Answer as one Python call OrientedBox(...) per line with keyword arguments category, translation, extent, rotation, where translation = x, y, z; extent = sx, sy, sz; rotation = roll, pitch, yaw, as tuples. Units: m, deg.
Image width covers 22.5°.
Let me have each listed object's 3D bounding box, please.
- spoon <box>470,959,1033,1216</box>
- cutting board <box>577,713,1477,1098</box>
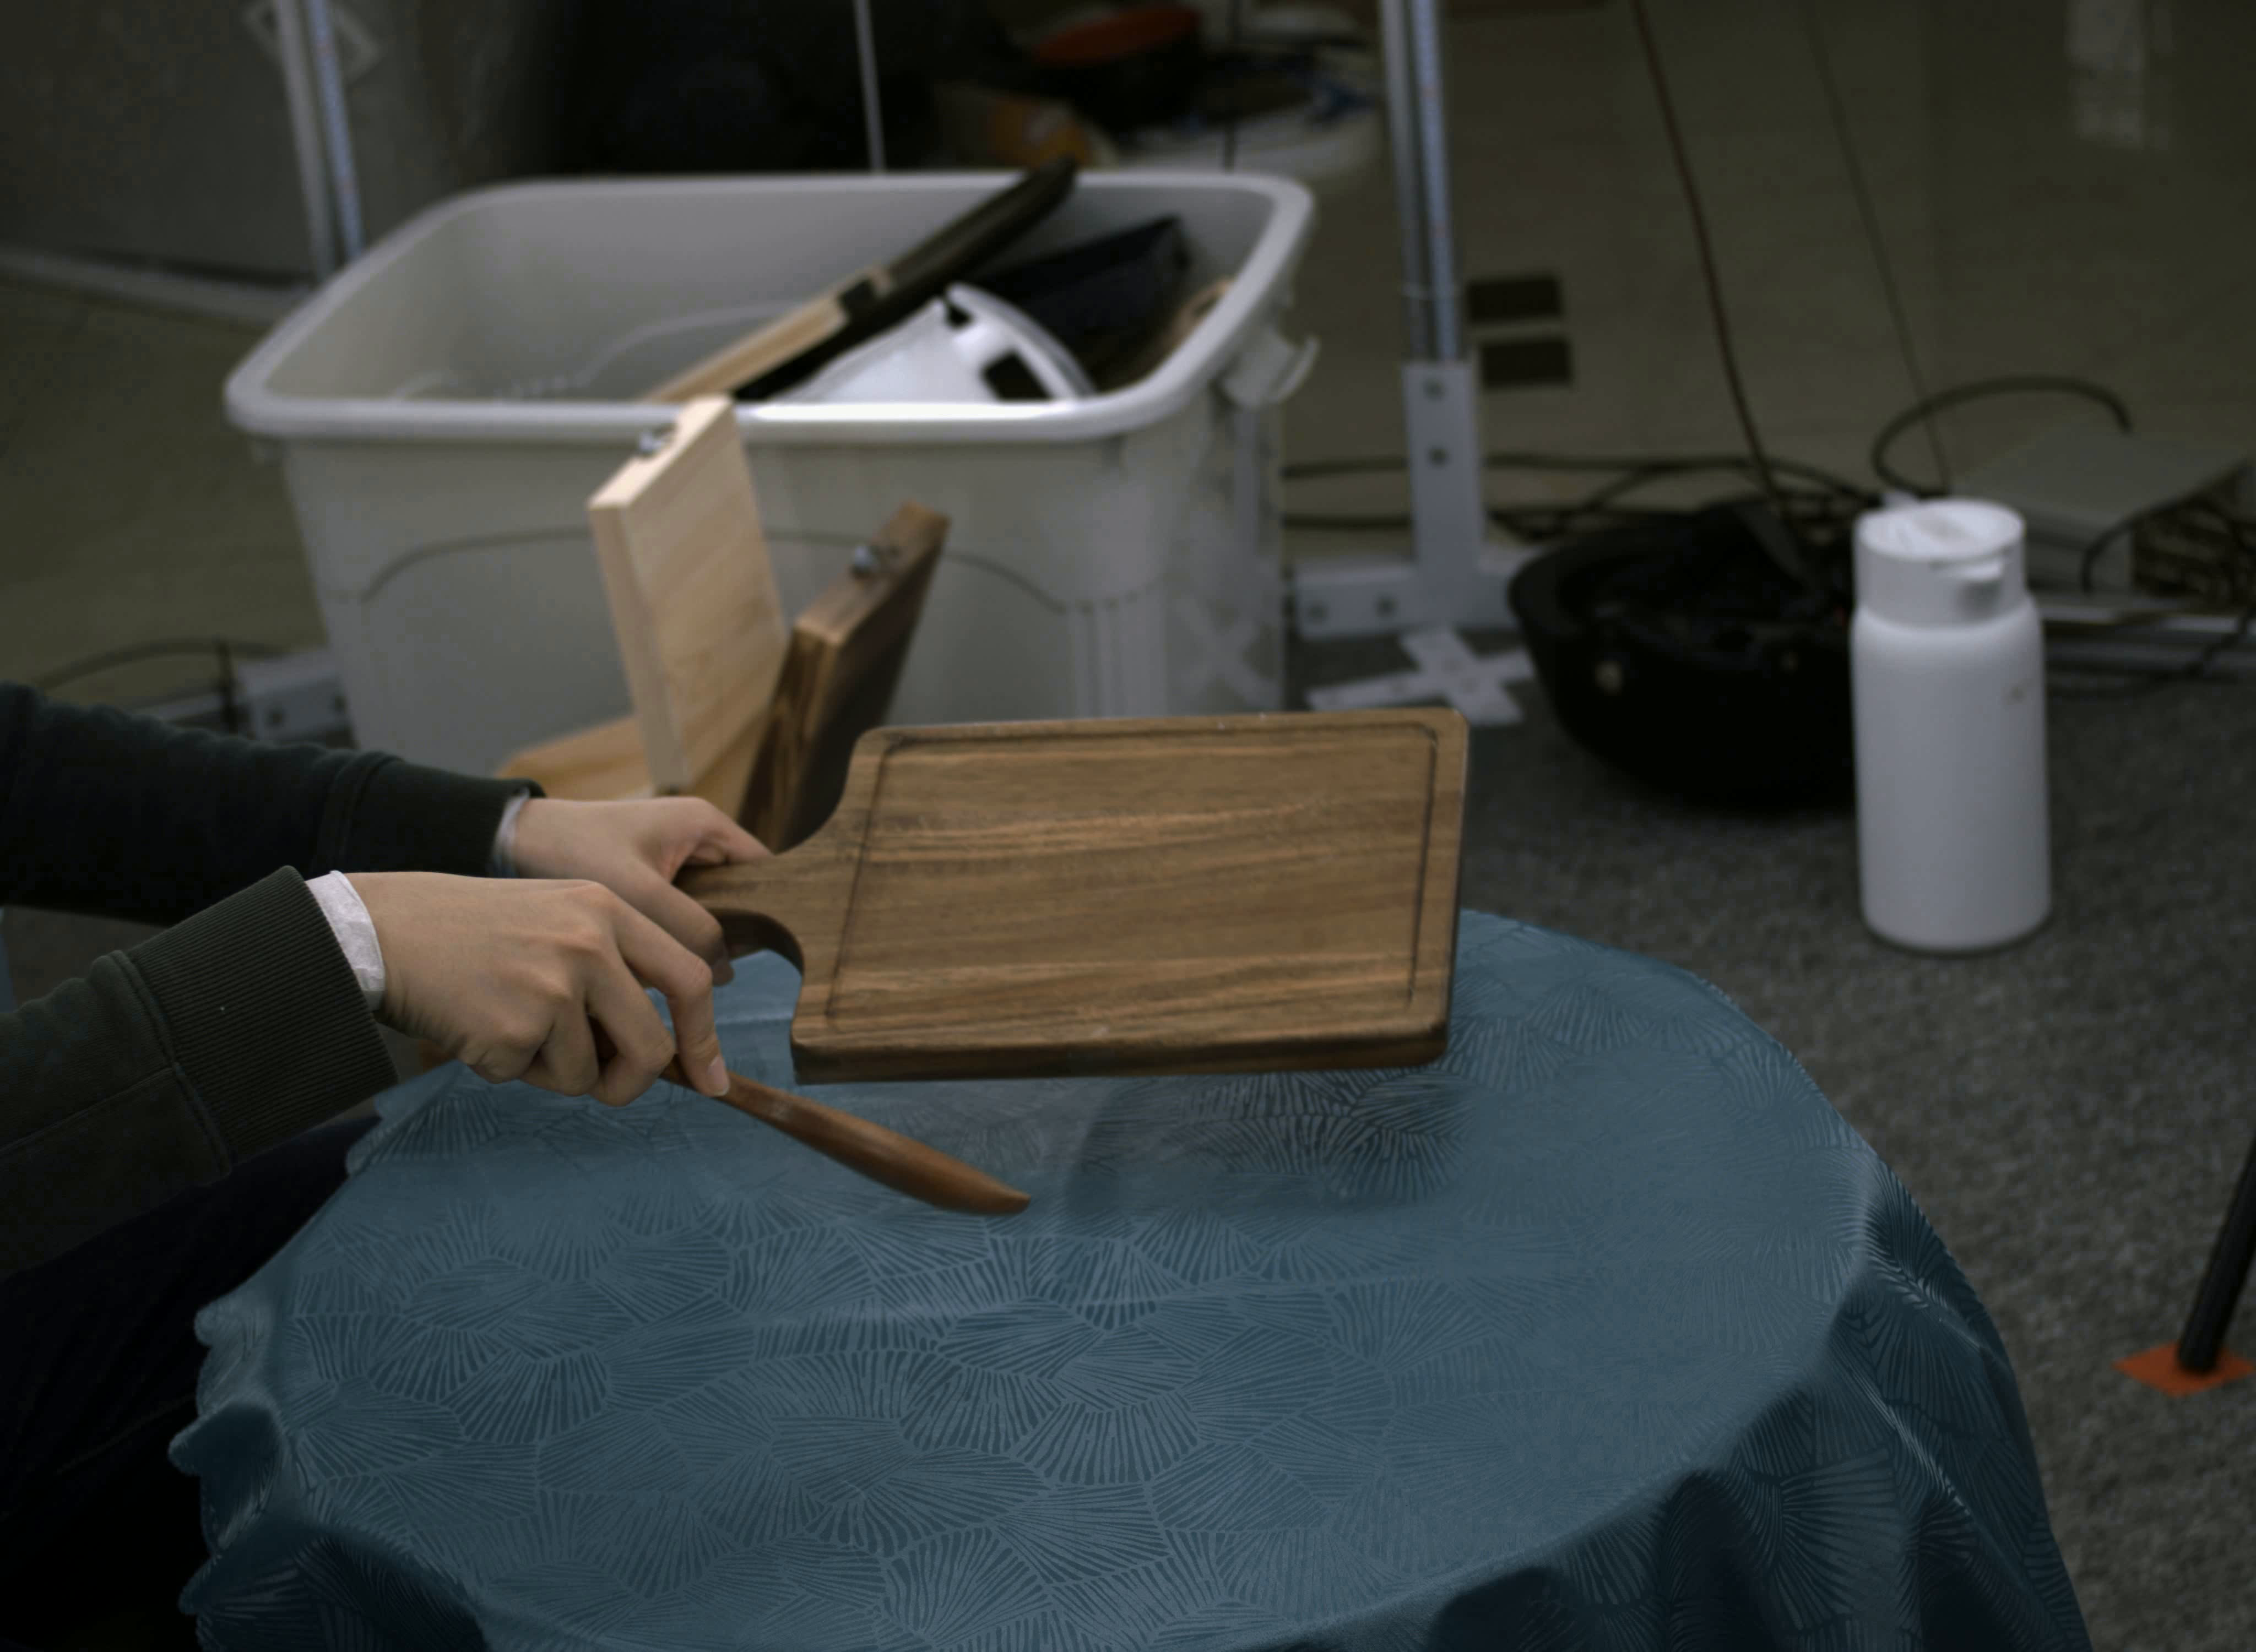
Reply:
OrientedBox(category="spoon", translation=(-0.126, 0.091, 1.920), extent=(0.217, 0.017, 0.075), rotation=(25, 2, -25))
OrientedBox(category="cutting board", translation=(-0.042, 0.030, 2.206), extent=(0.351, 0.023, 0.197), rotation=(-2, 42, 9))
